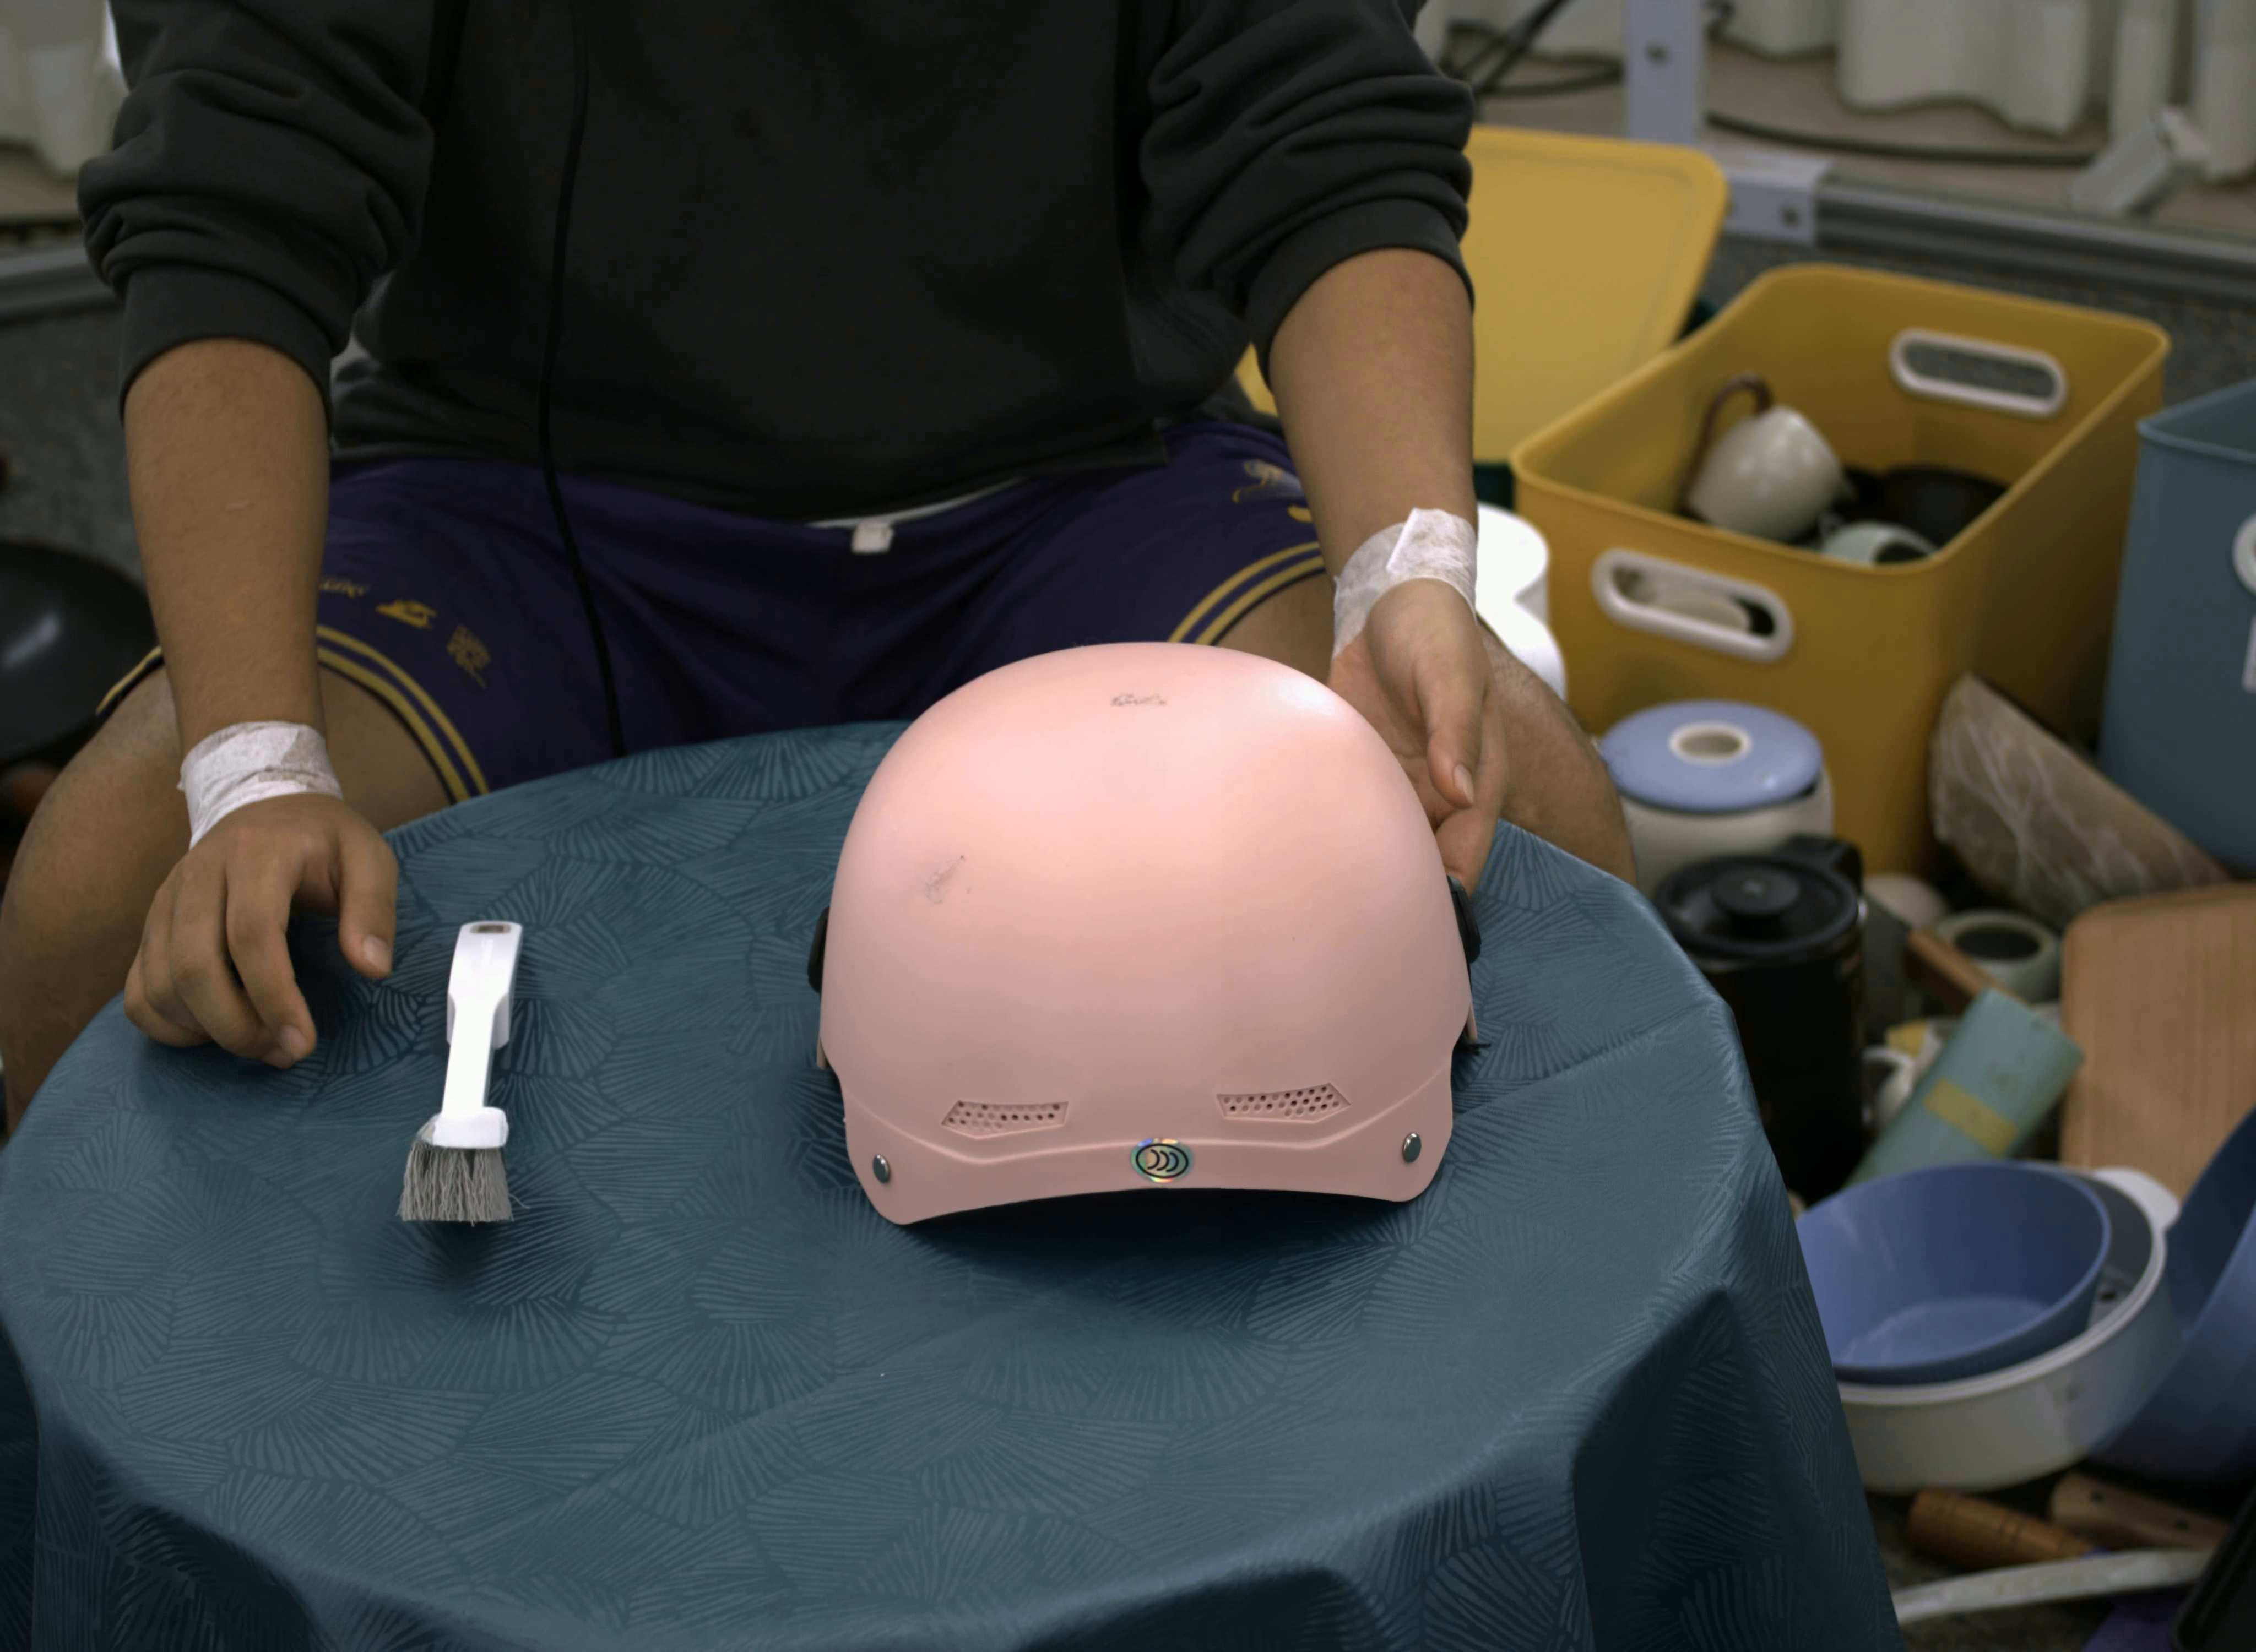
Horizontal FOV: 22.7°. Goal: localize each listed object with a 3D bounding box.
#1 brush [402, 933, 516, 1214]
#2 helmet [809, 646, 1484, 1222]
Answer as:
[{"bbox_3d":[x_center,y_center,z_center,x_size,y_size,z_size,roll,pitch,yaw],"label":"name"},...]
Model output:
[{"bbox_3d":[-0.226,0.088,1.925,0.034,0.050,0.245,0,14,-4],"label":"brush"},{"bbox_3d":[0.003,0.017,1.902,0.233,0.157,0.269,-4,23,1],"label":"helmet"}]
